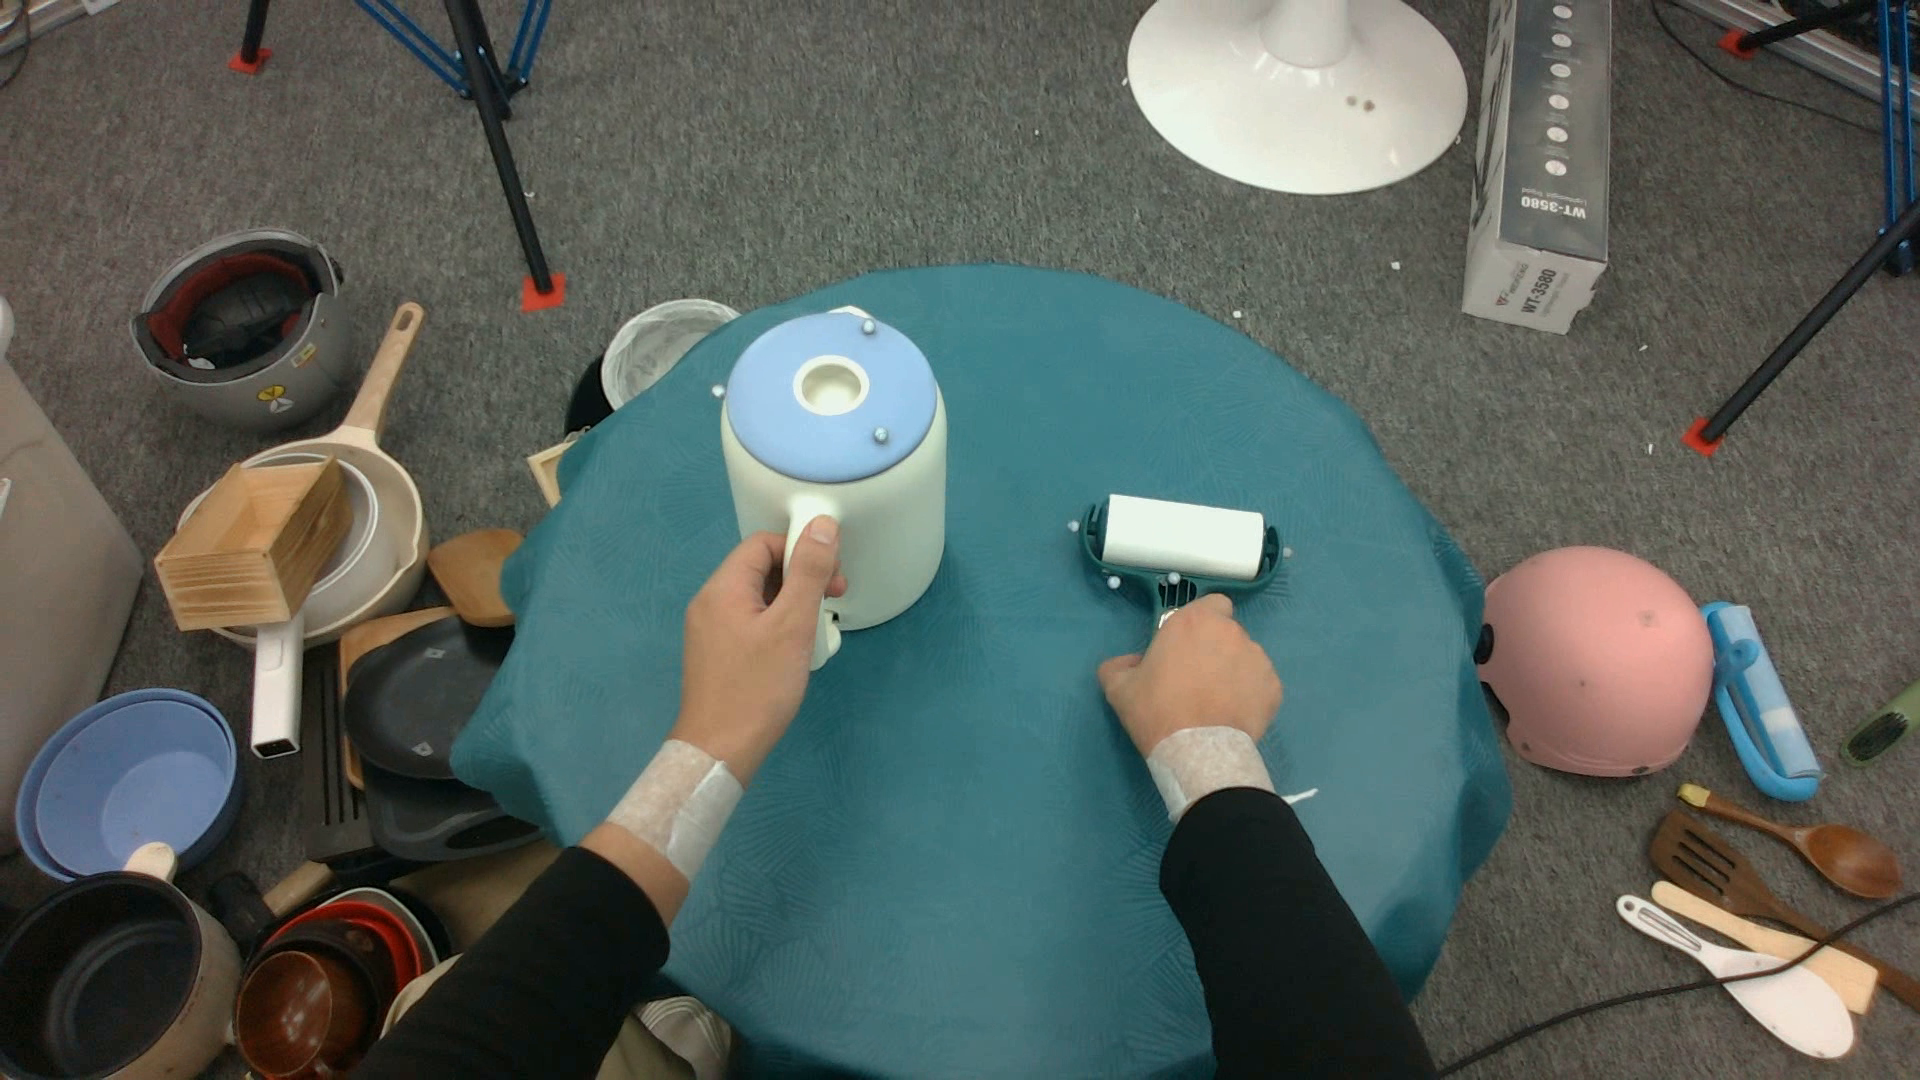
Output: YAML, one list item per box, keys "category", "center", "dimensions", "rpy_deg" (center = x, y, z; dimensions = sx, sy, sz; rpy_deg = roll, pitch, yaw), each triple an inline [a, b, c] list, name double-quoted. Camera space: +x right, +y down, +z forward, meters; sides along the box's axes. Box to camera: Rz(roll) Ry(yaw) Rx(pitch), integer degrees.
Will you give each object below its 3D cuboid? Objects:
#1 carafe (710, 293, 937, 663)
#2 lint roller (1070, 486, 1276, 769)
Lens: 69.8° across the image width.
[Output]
- category: "carafe"
  center: [-0.083, -0.024, 0.824]
  dimensions: [0.132, 0.182, 0.192]
  rpy_deg: [5, 60, 1]
- category: "lint roller"
  center: [0.129, 0.051, 0.860]
  dimensions: [0.134, 0.048, 0.181]
  rpy_deg: [7, 58, 2]
